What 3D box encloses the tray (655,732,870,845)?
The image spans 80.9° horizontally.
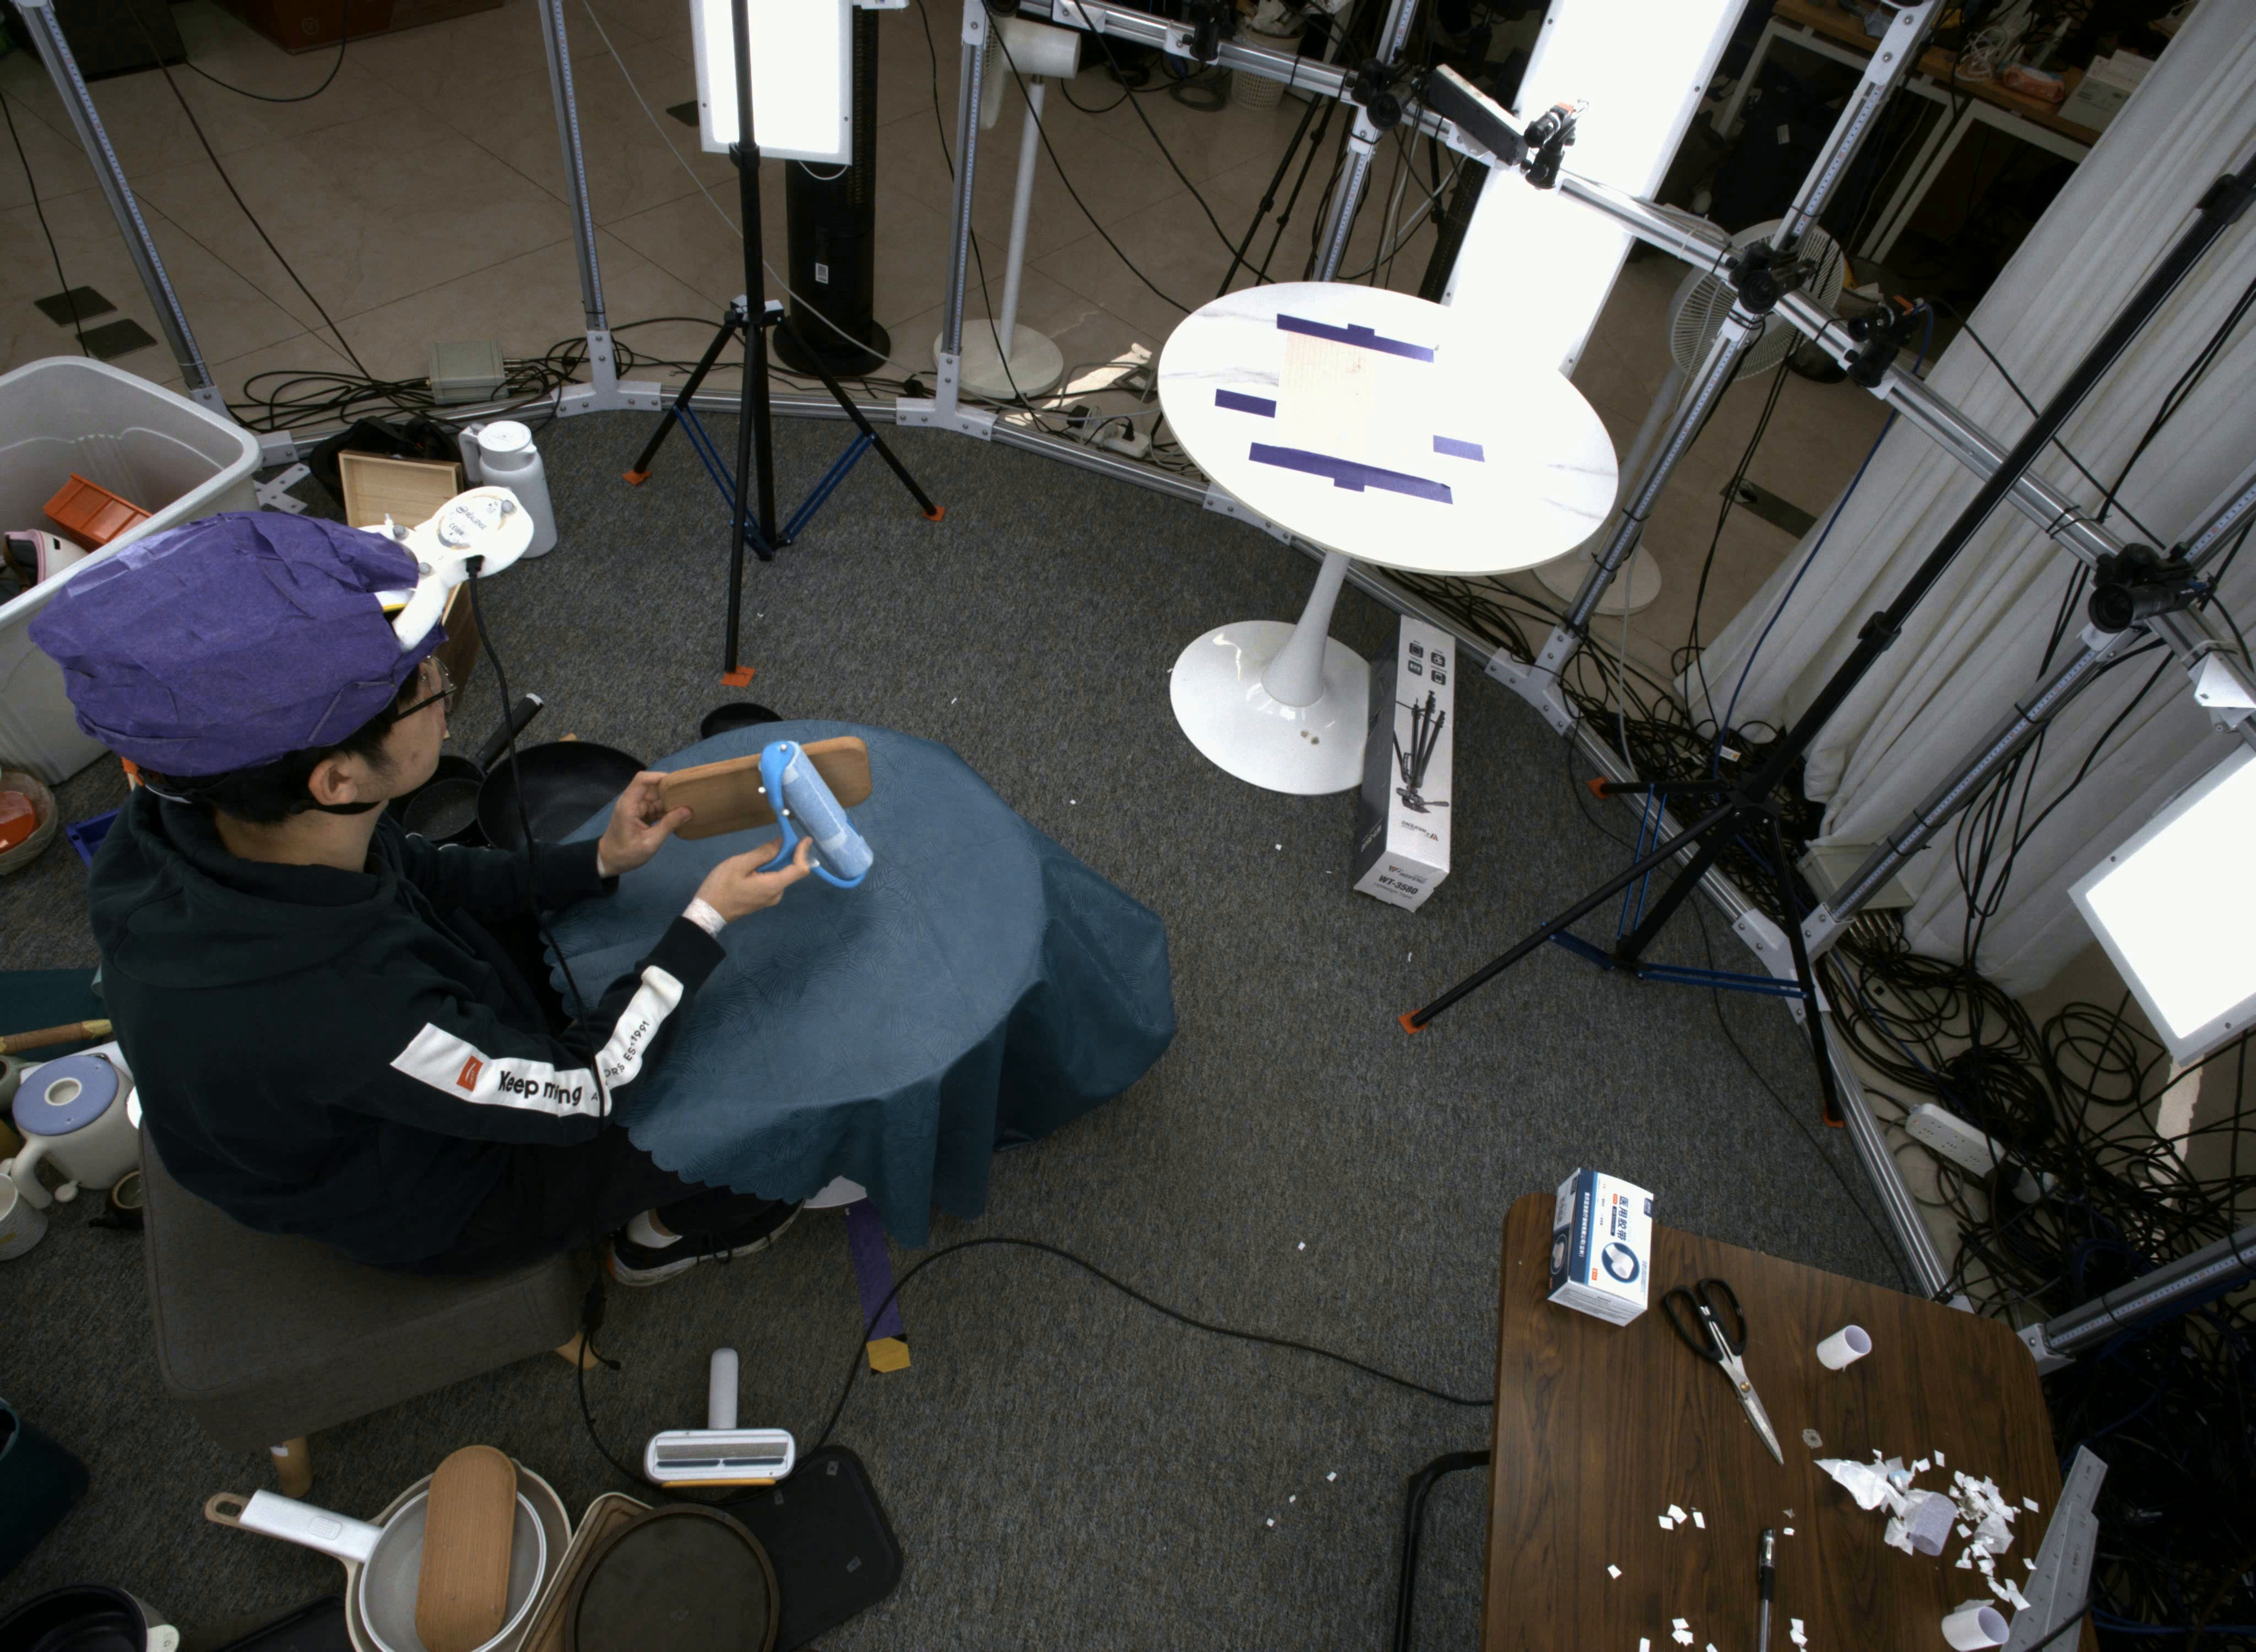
[{"bbox_3d":[-0.440,-0.044,1.571,0.251,0.134,0.022,-15,52,-16],"label":"tray"}]

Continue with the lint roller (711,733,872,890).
[{"bbox_3d":[-0.412,0.018,1.540,0.065,0.238,0.180,28,68,37],"label":"lint roller"}]
